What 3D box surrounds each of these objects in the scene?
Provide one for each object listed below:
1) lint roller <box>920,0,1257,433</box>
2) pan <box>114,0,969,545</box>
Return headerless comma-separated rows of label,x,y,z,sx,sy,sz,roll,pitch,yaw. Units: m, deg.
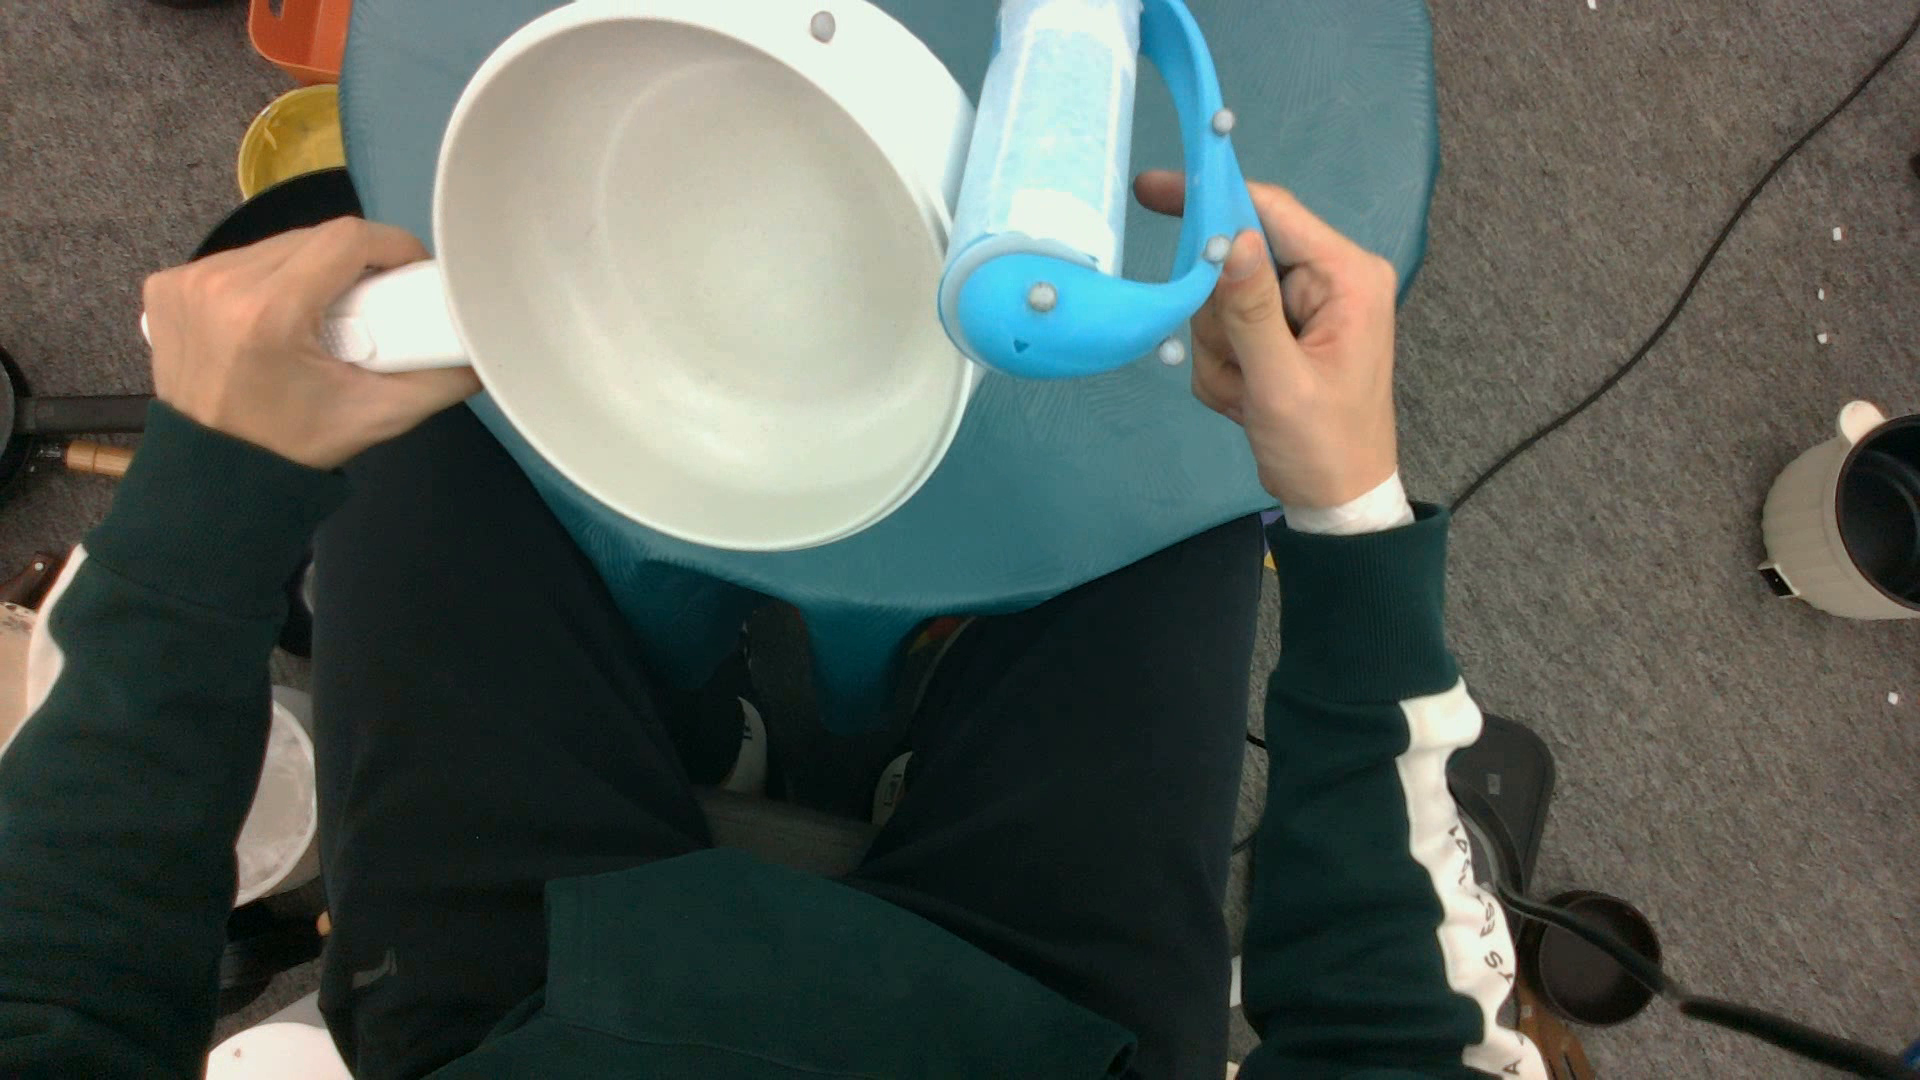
lint roller,0.067,-0.108,0.496,0.180,0.067,0.230,35,39,-30
pan,-0.159,-0.105,0.541,0.354,0.102,0.200,-2,121,19
